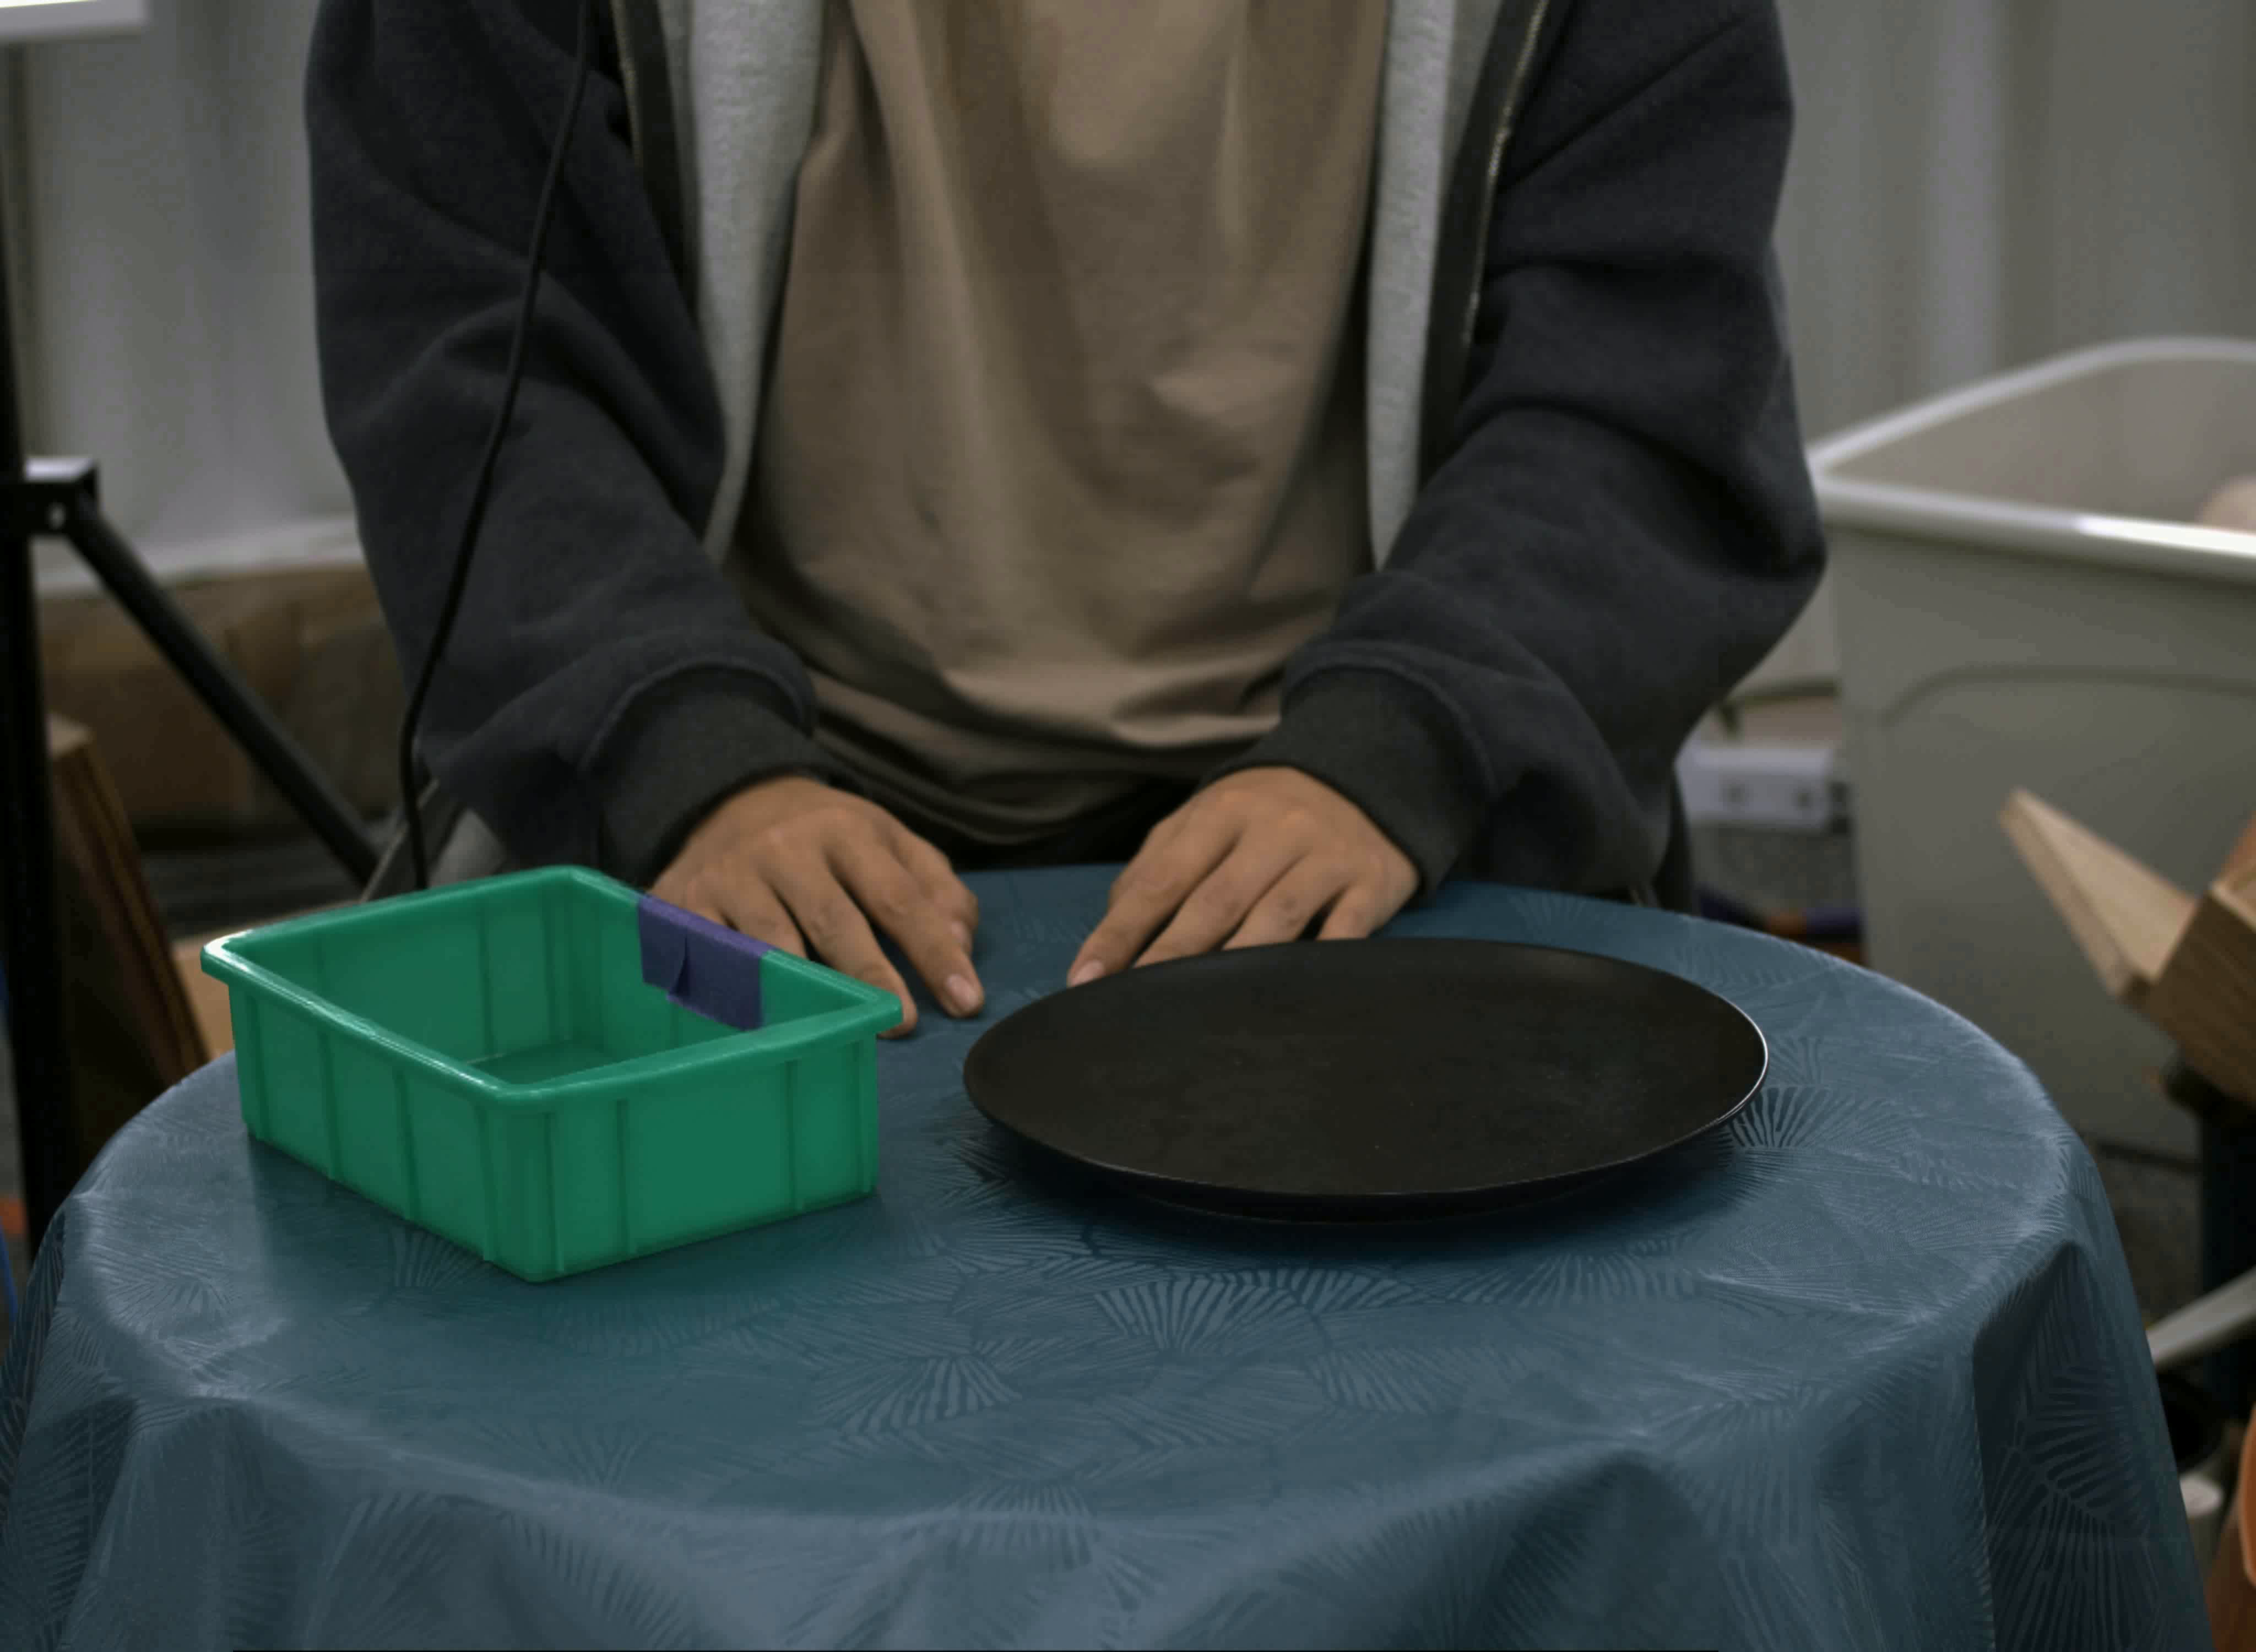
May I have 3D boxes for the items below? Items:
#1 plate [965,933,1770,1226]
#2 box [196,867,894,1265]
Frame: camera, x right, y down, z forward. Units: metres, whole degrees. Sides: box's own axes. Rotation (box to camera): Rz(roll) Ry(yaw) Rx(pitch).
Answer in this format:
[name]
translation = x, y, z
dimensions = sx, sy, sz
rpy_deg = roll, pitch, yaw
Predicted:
[plate]
translation = 0.072, 0.080, 1.607
dimensions = 0.243, 0.023, 0.245
rpy_deg = -3, 16, 0
[box]
translation = -0.176, 0.071, 1.606
dimensions = 0.135, 0.065, 0.215
rpy_deg = -11, 16, -34
